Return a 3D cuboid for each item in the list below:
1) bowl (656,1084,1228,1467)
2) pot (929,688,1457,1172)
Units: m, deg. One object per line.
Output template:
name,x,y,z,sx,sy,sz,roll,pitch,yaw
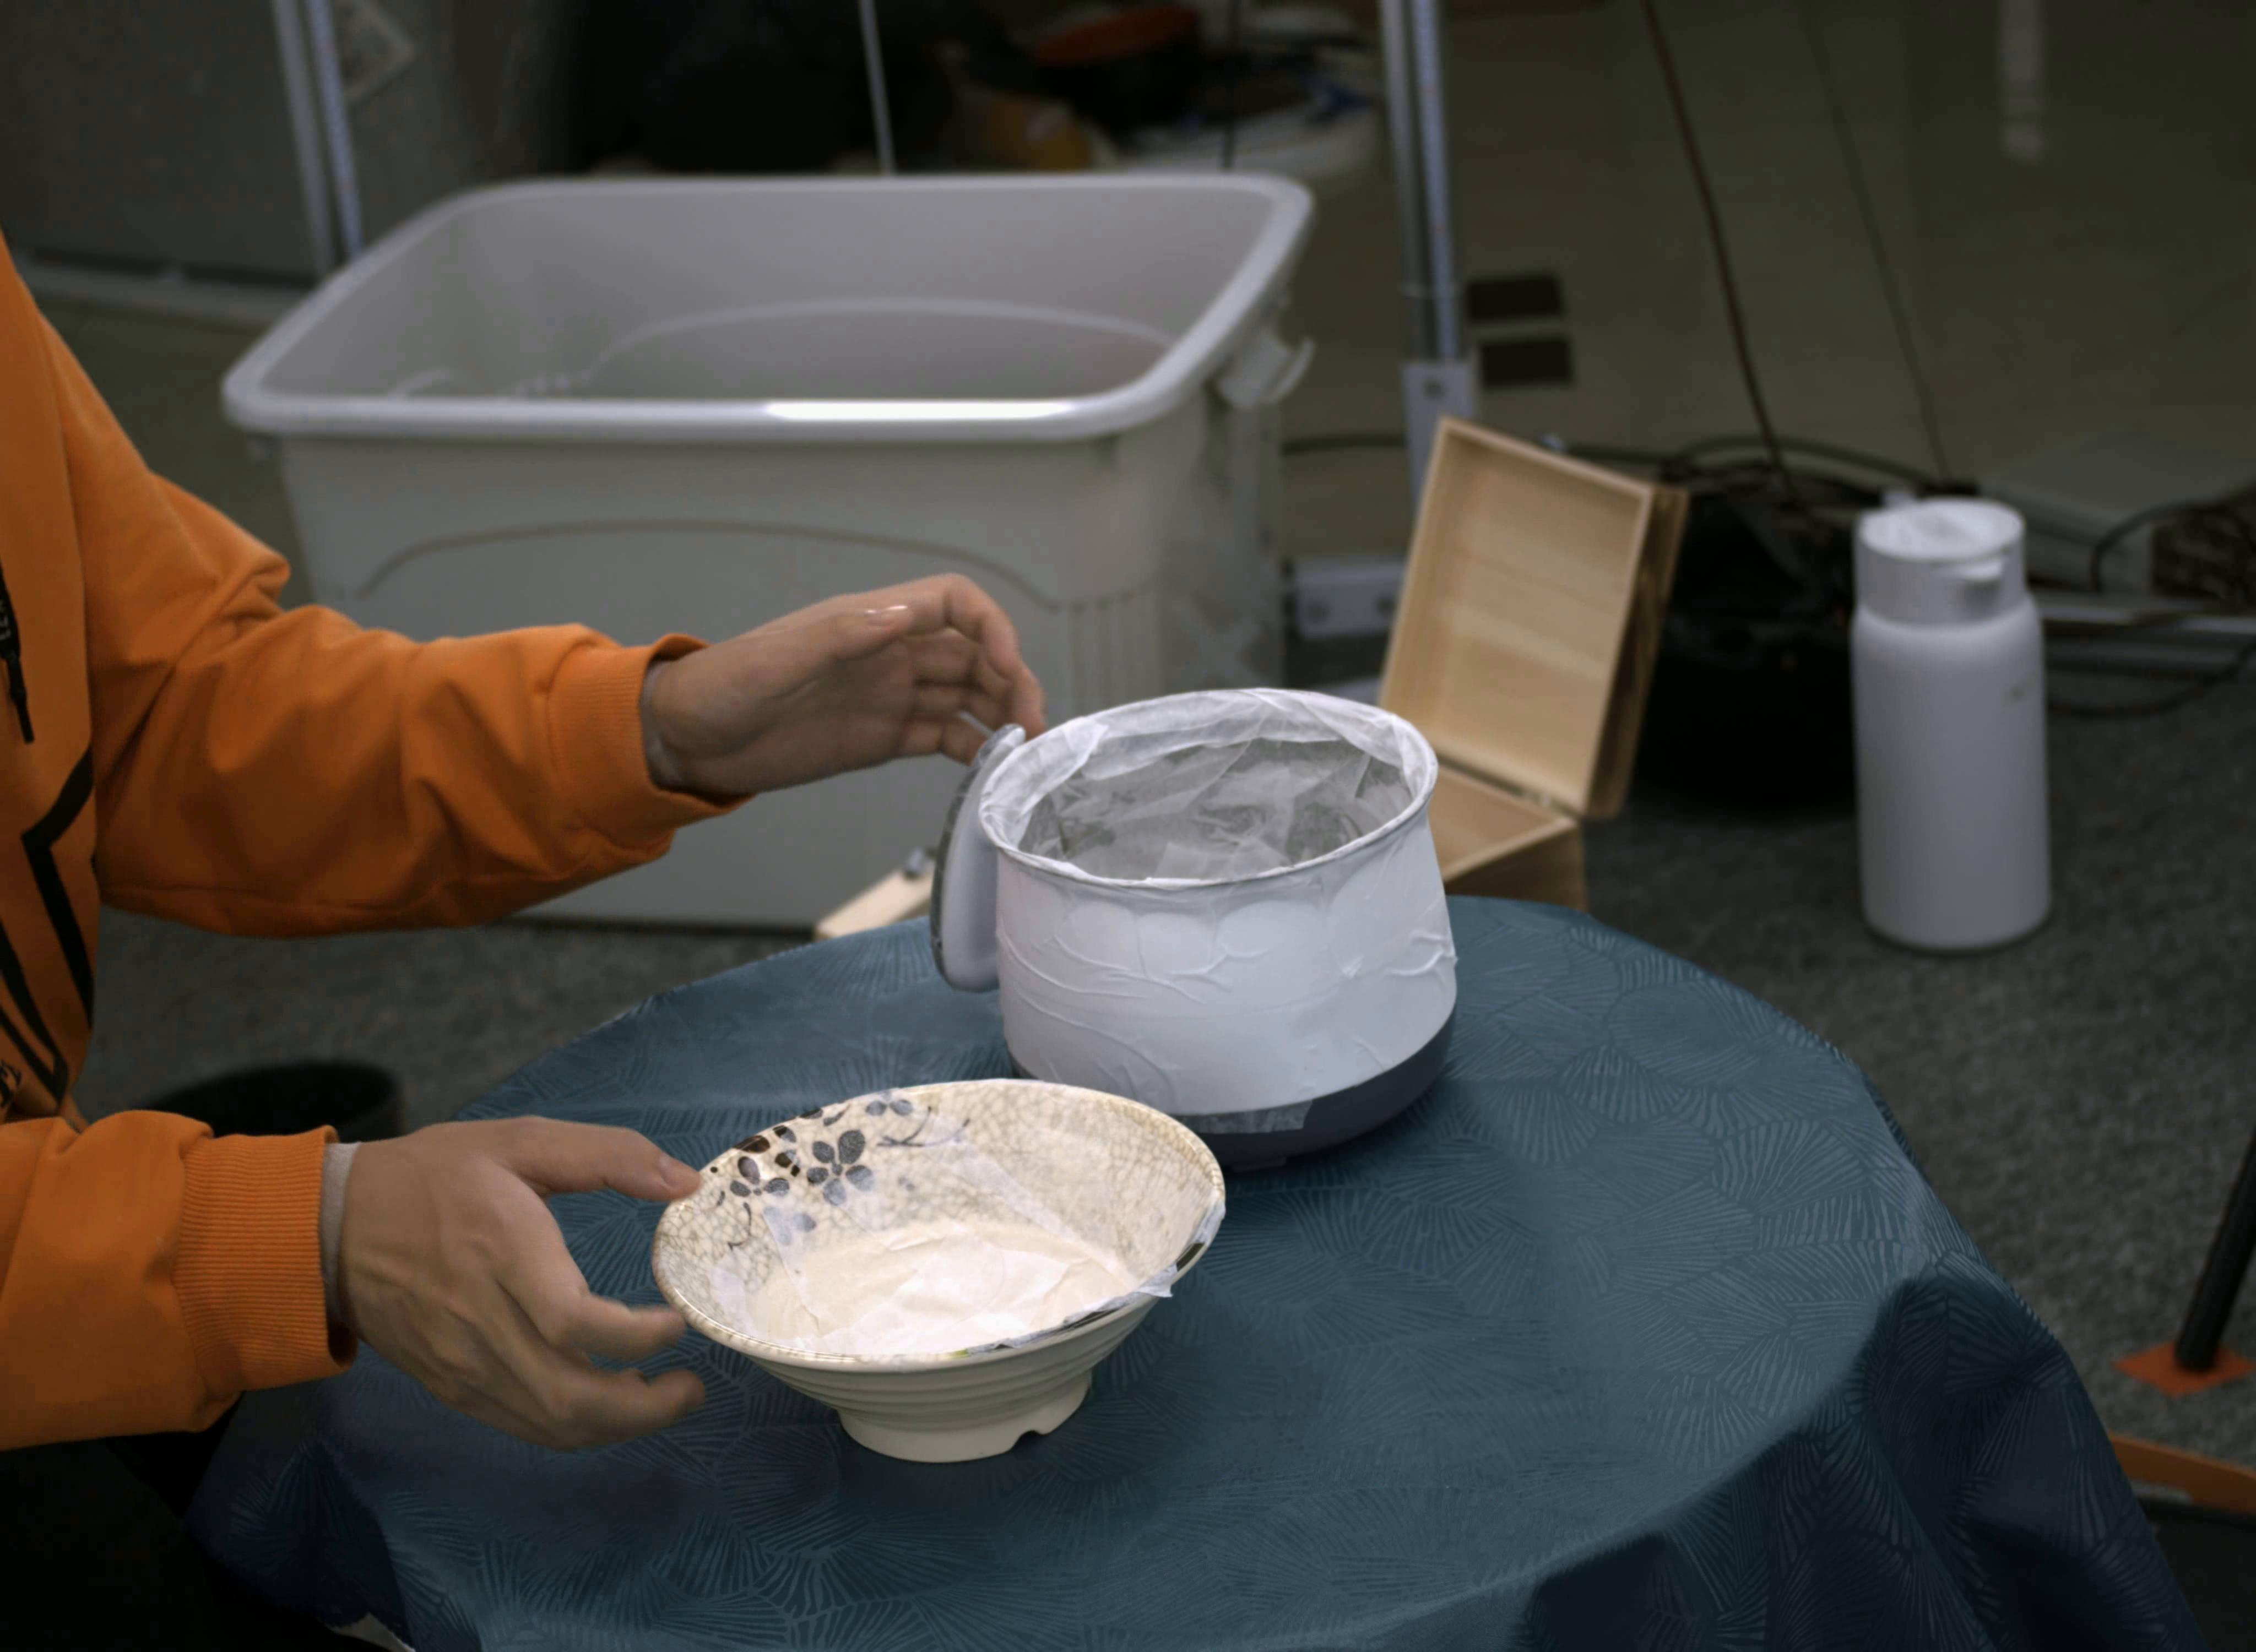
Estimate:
bowl,-0.060,0.171,2.005,0.204,0.079,0.201,-8,25,4
pot,0.015,0.036,2.199,0.232,0.139,0.177,14,31,35
